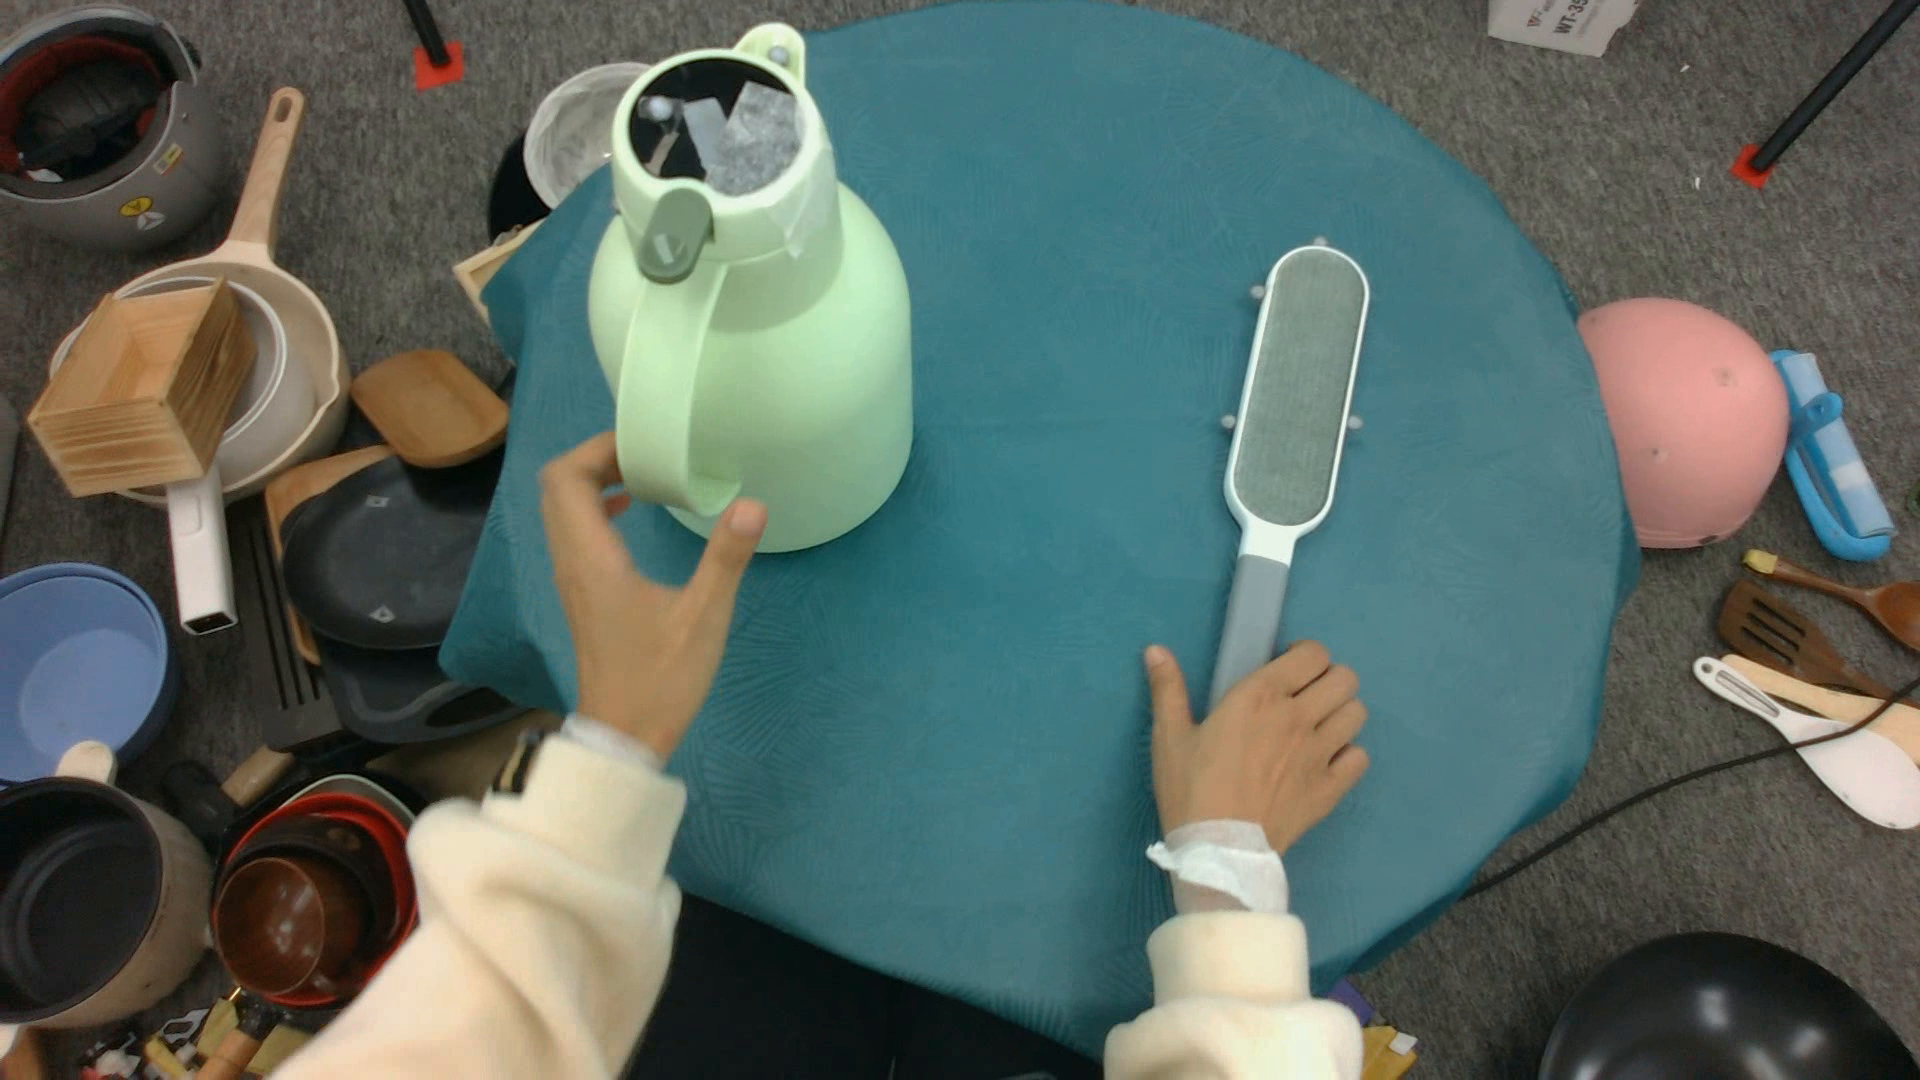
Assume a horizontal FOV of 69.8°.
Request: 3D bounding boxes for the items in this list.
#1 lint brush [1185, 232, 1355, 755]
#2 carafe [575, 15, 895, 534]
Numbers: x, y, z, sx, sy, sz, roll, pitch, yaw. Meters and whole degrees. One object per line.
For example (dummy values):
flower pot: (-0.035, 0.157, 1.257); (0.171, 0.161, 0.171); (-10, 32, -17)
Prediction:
lint brush: (0.159, -0.035, 0.726); (0.060, 0.021, 0.310); (16, 68, 1)
carafe: (-0.104, -0.096, 0.613); (0.144, 0.256, 0.187); (16, 71, 1)
